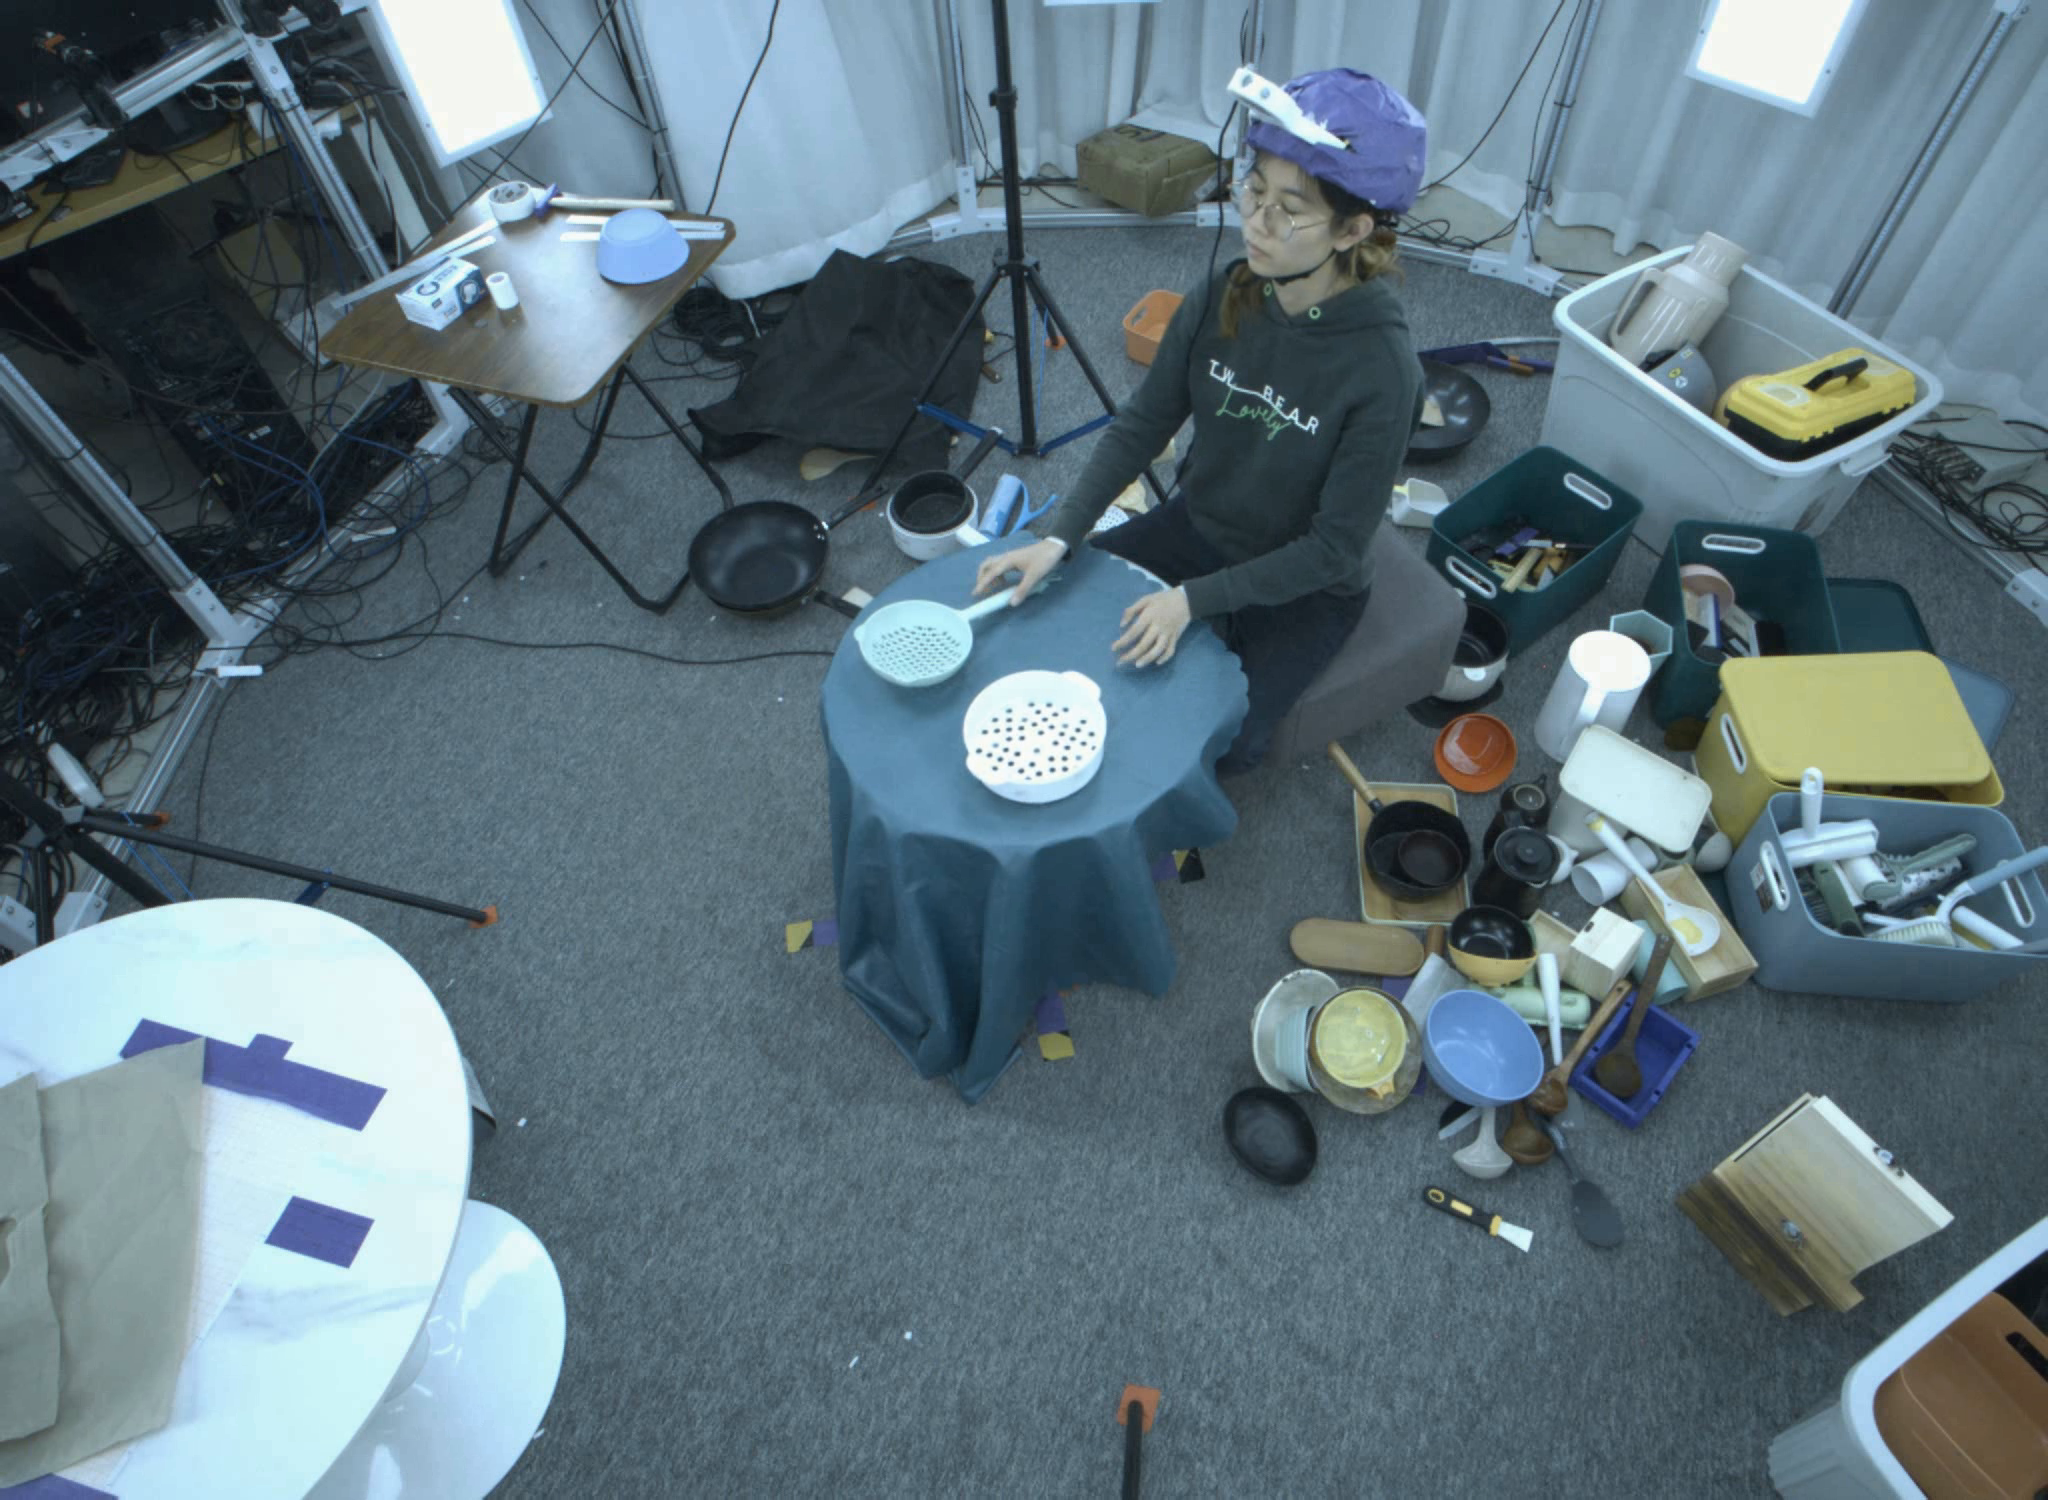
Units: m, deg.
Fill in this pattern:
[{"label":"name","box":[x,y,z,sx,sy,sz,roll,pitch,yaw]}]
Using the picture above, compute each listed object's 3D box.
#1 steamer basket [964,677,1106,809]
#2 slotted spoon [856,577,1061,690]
[{"label":"steamer basket","box":[0.016,-0.008,1.763,0.198,0.070,0.232,35,63,23]},{"label":"slotted spoon","box":[-0.086,-0.199,1.901,0.361,0.076,0.166,-34,61,-20]}]
